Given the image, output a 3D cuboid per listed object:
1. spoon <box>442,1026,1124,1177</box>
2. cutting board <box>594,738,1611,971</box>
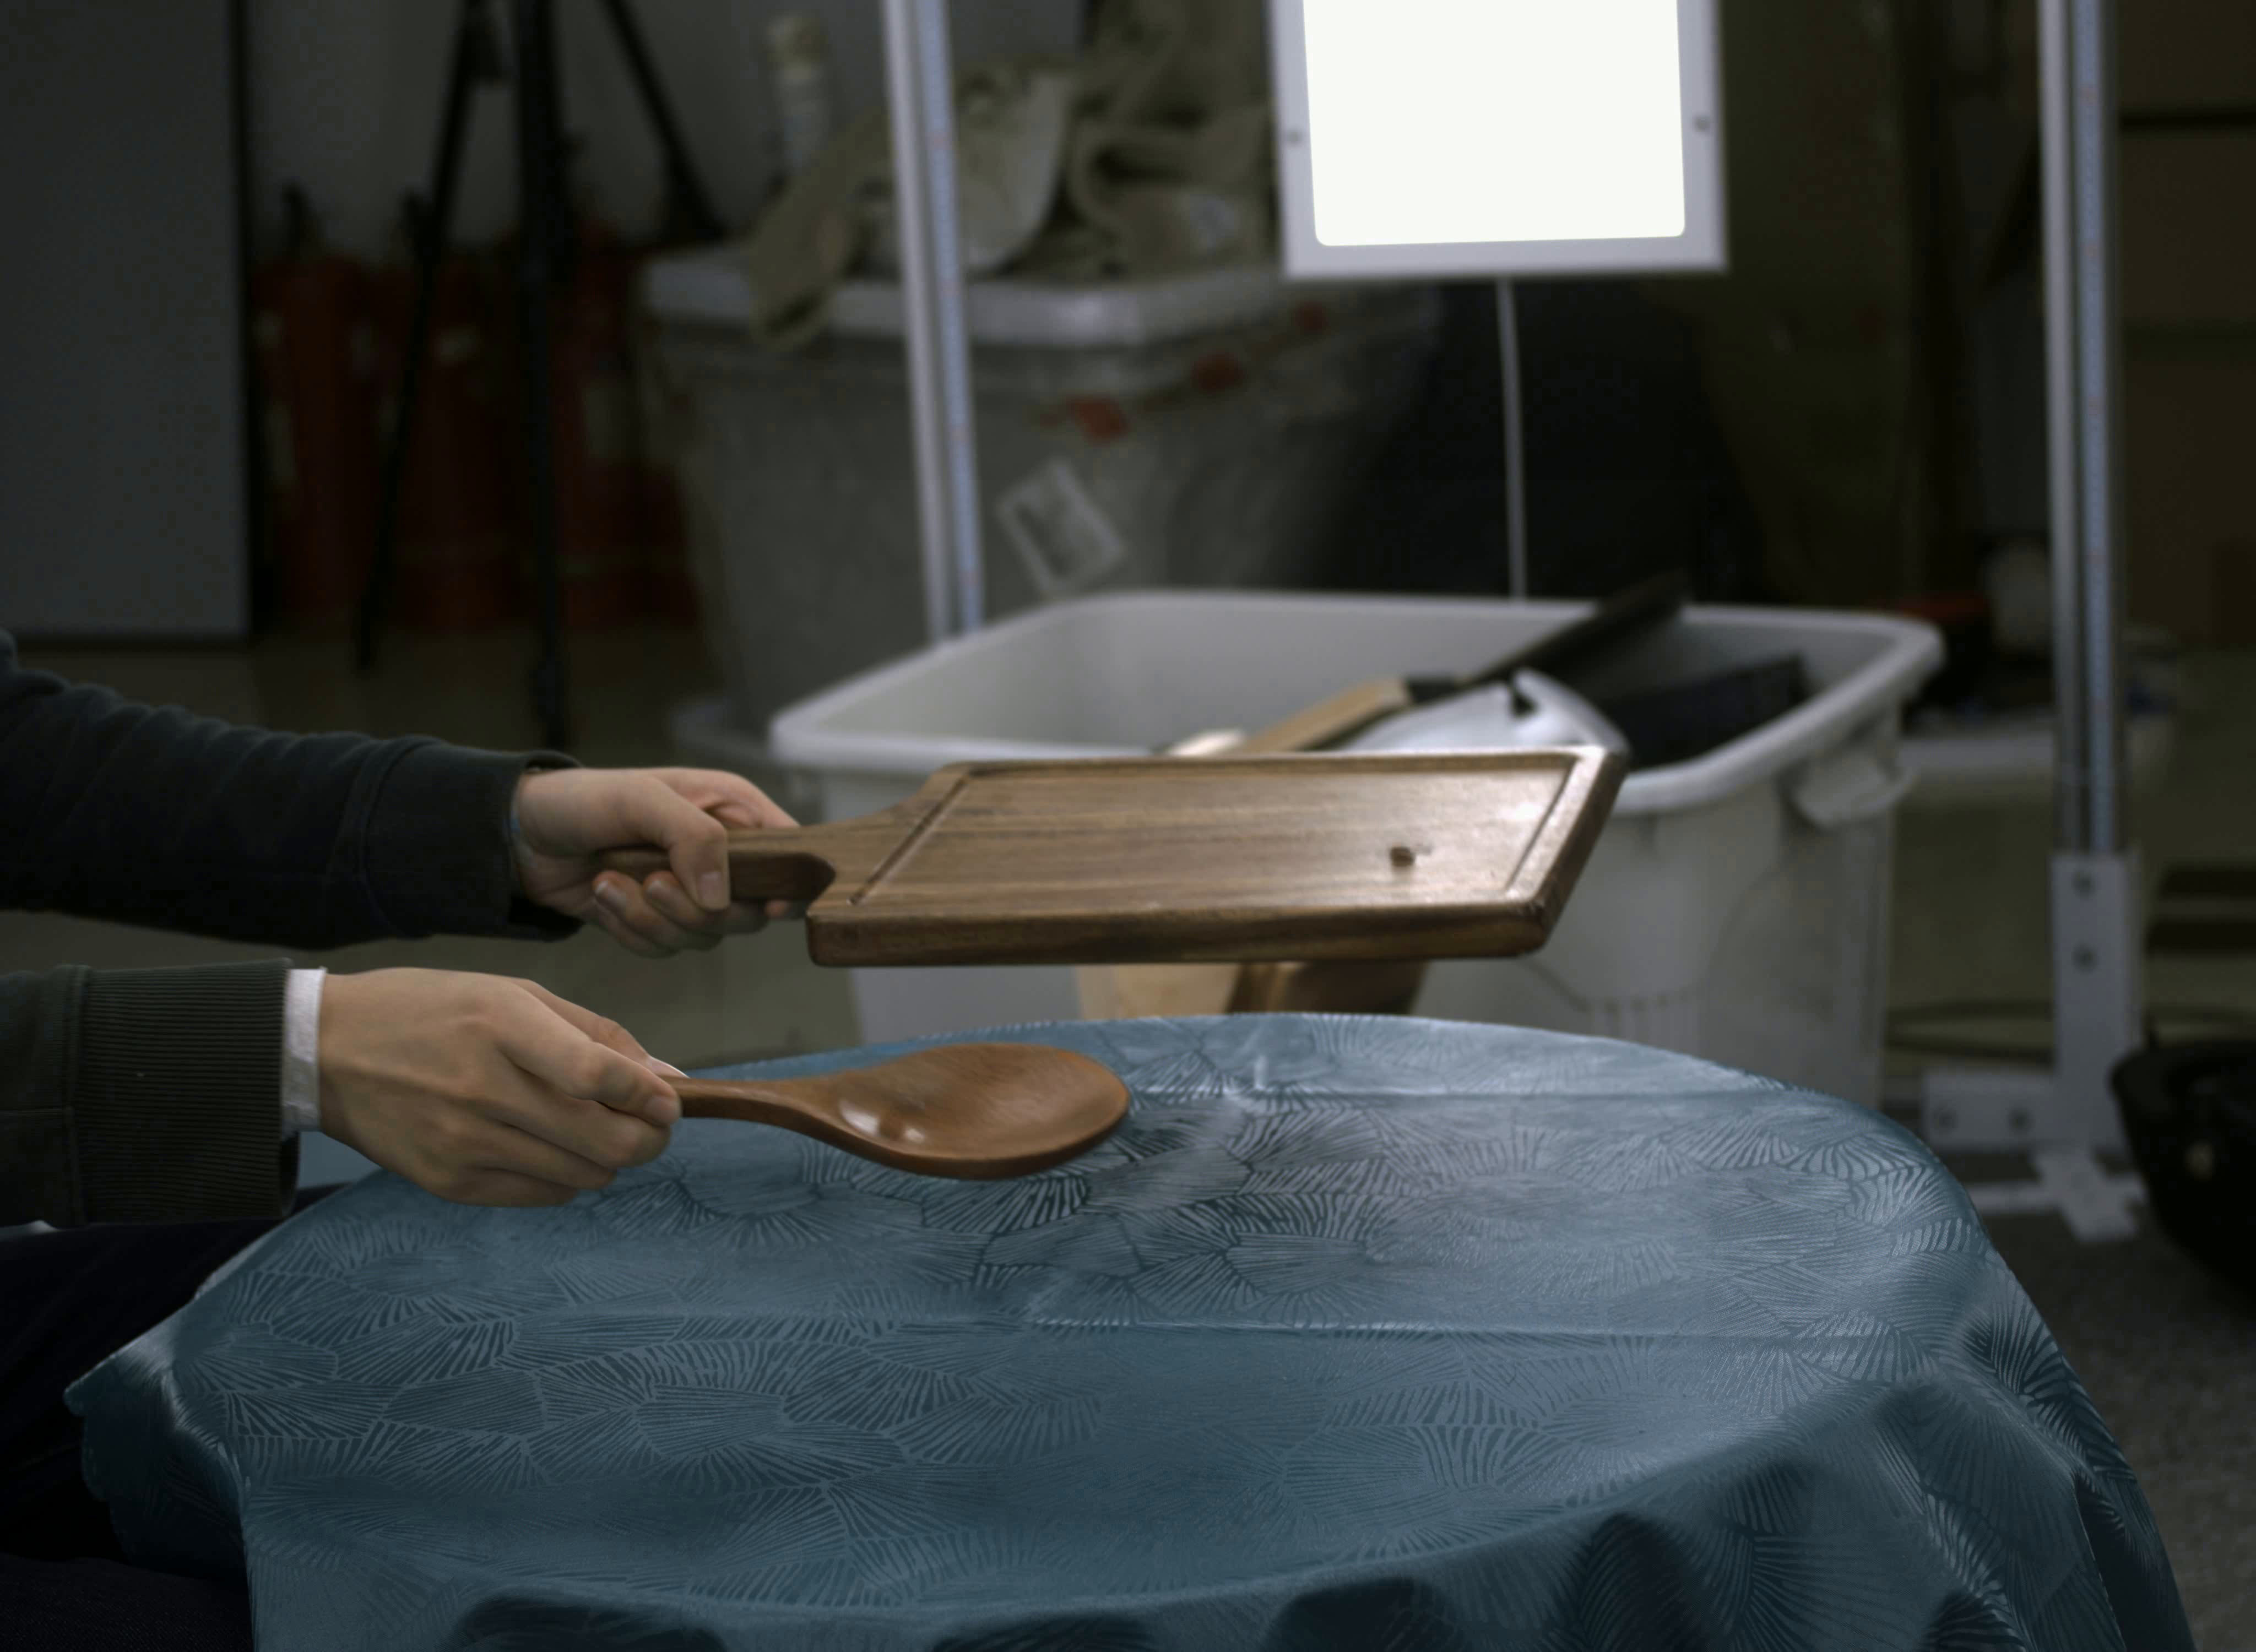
[{"bbox_3d":[-0.106,0.082,1.671,0.218,0.017,0.074,3,30,17],"label":"spoon"},{"bbox_3d":[-0.016,0.010,1.906,0.355,0.023,0.198,-2,17,15],"label":"cutting board"}]
